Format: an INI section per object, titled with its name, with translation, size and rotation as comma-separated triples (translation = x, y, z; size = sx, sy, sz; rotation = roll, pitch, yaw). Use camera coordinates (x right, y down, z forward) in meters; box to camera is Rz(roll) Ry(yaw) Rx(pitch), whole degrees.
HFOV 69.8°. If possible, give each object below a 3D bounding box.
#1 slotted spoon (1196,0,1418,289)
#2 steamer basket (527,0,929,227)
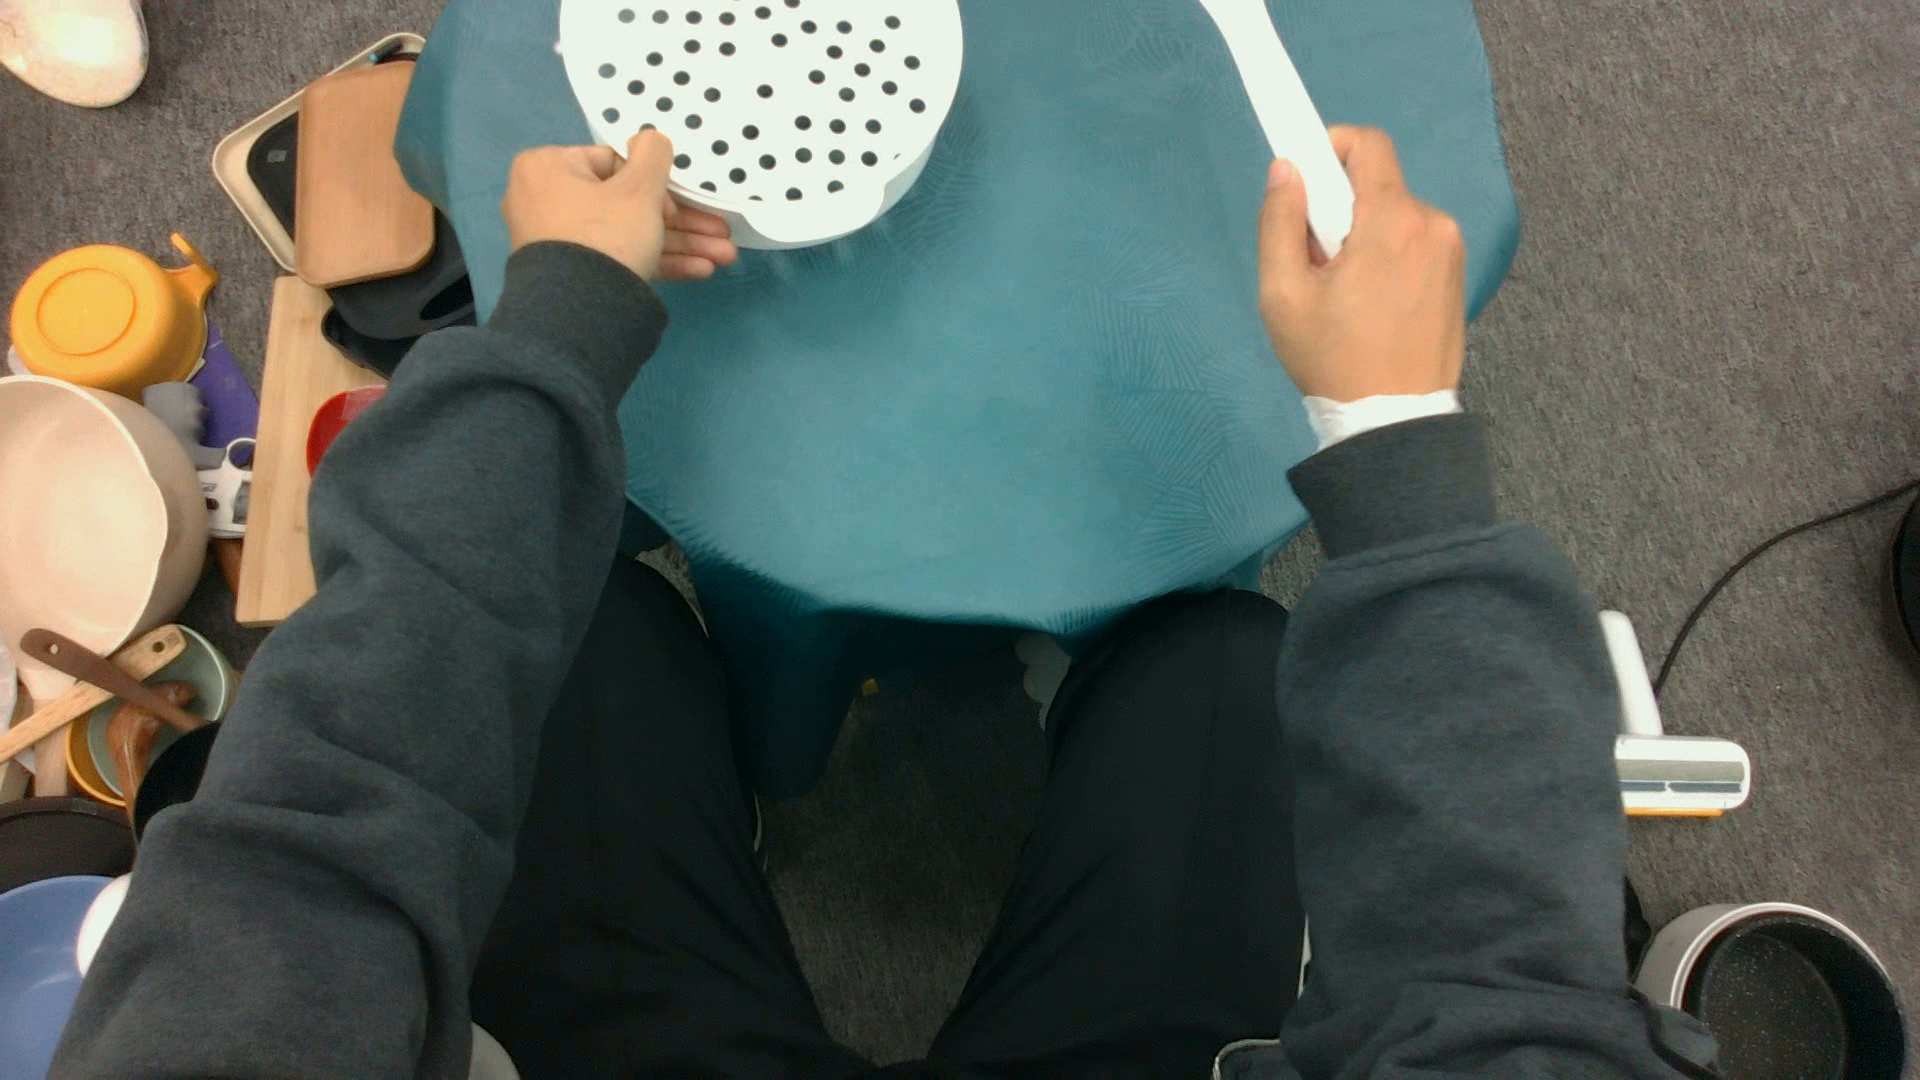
[slotted spoon]
translation = 0.104, -0.260, 0.605
size = 0.136, 0.050, 0.348
rotation = -29, 76, 20
[steamer basket]
translation = -0.120, -0.264, 0.726
size = 0.202, 0.069, 0.231
rotation = -16, 79, -12
